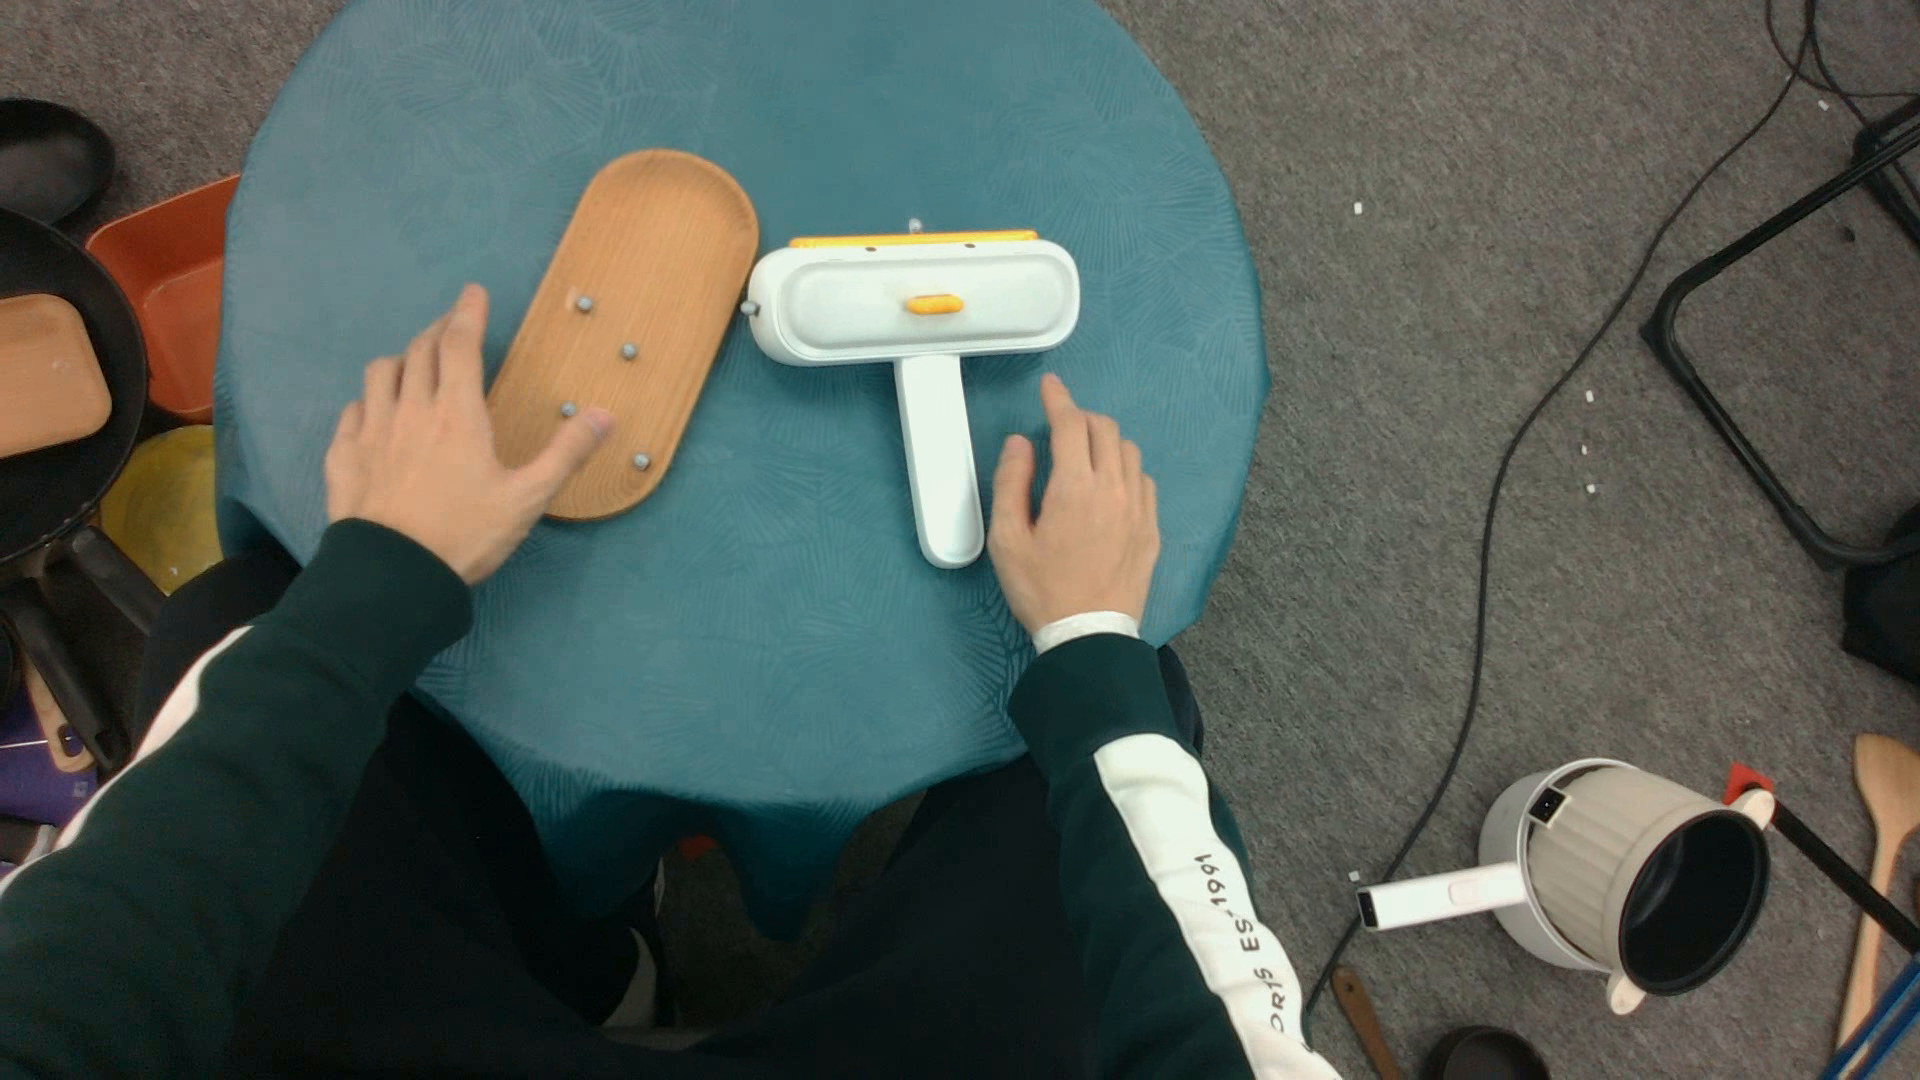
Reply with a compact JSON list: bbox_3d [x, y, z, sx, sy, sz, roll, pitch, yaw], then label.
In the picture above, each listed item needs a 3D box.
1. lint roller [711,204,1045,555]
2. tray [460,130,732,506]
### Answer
[{"bbox_3d":[-0.031,-0.087,0.775,0.193,0.074,0.192,-12,97,-22],"label":"lint roller"},{"bbox_3d":[-0.199,-0.126,0.763,0.102,0.020,0.232,19,70,-8],"label":"tray"}]
